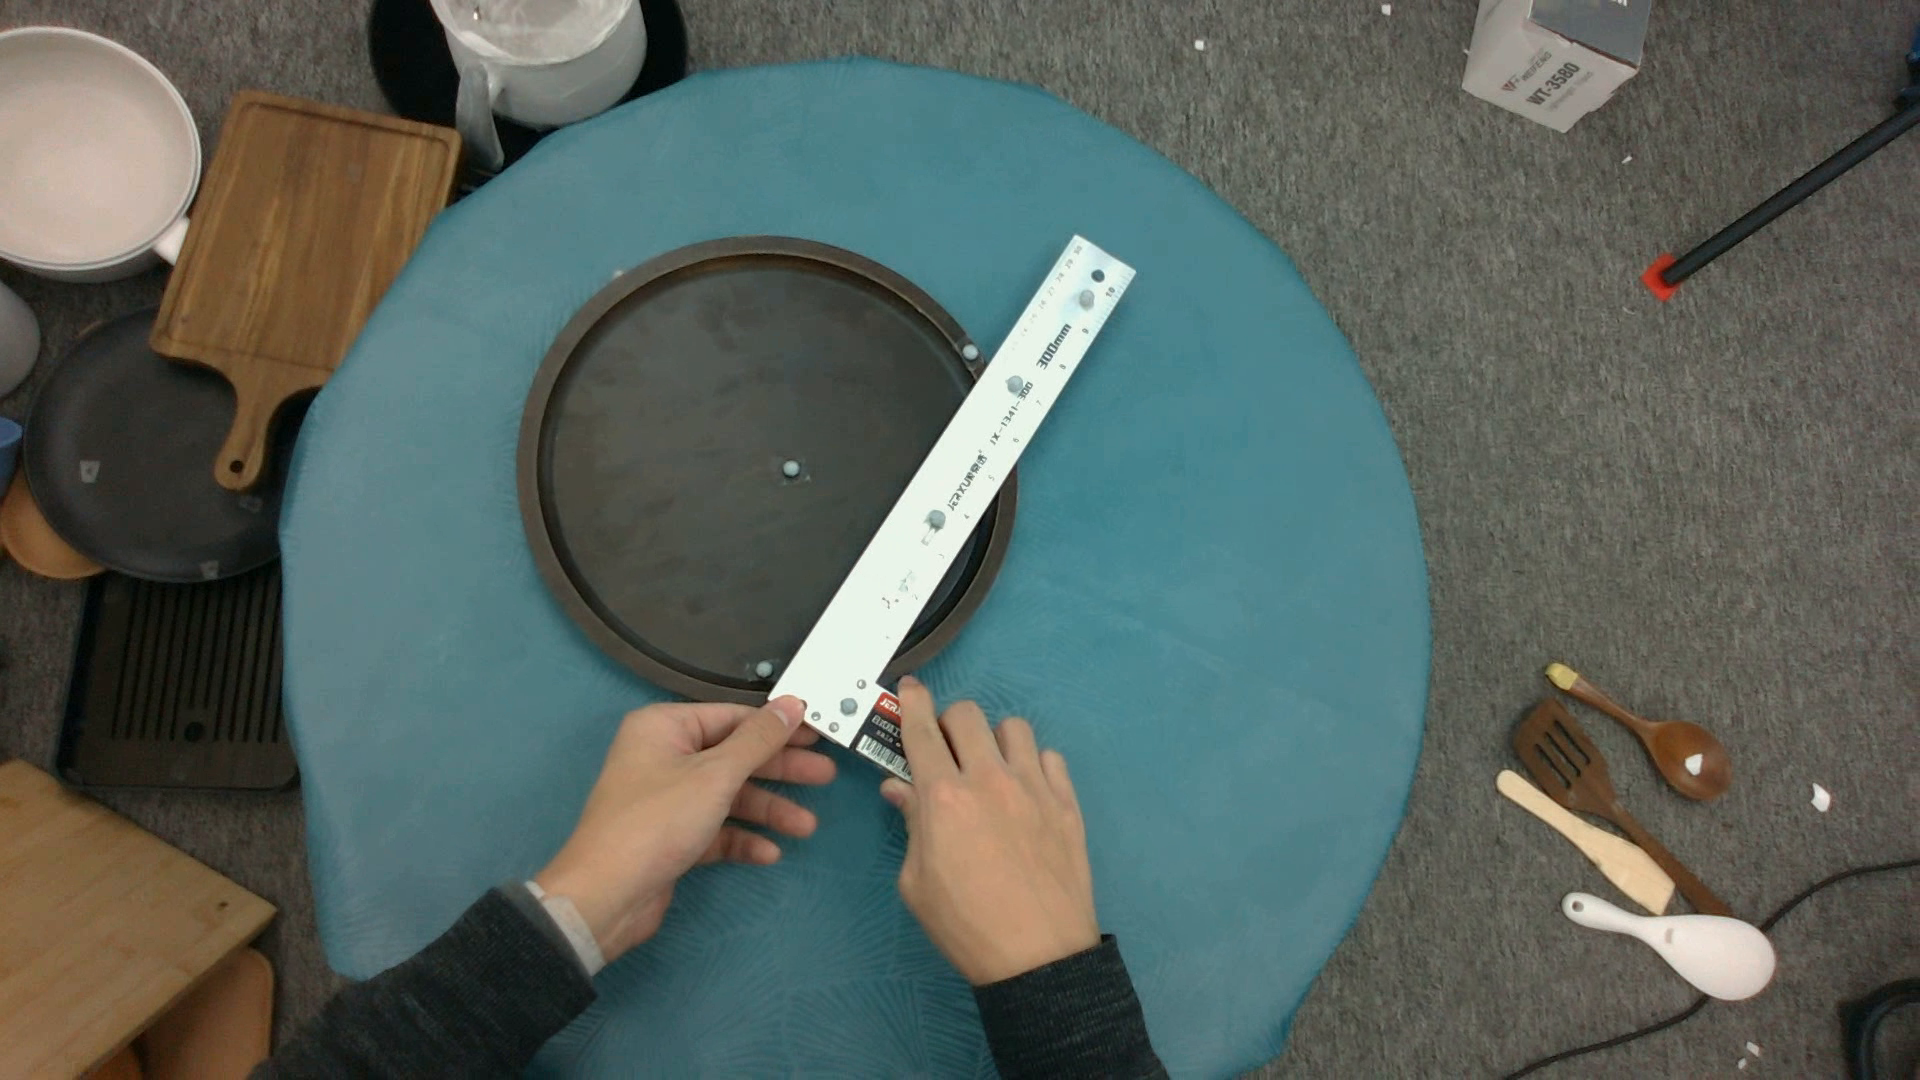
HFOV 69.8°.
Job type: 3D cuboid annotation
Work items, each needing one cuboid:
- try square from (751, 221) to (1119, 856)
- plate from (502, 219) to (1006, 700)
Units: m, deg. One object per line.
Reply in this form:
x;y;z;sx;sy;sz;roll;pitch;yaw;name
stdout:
0.039;-0.011;0.711;0.152;0.016;0.314;32;71;0;try square
-0.101;-0.044;0.705;0.255;0.029;0.255;3;75;-13;plate
